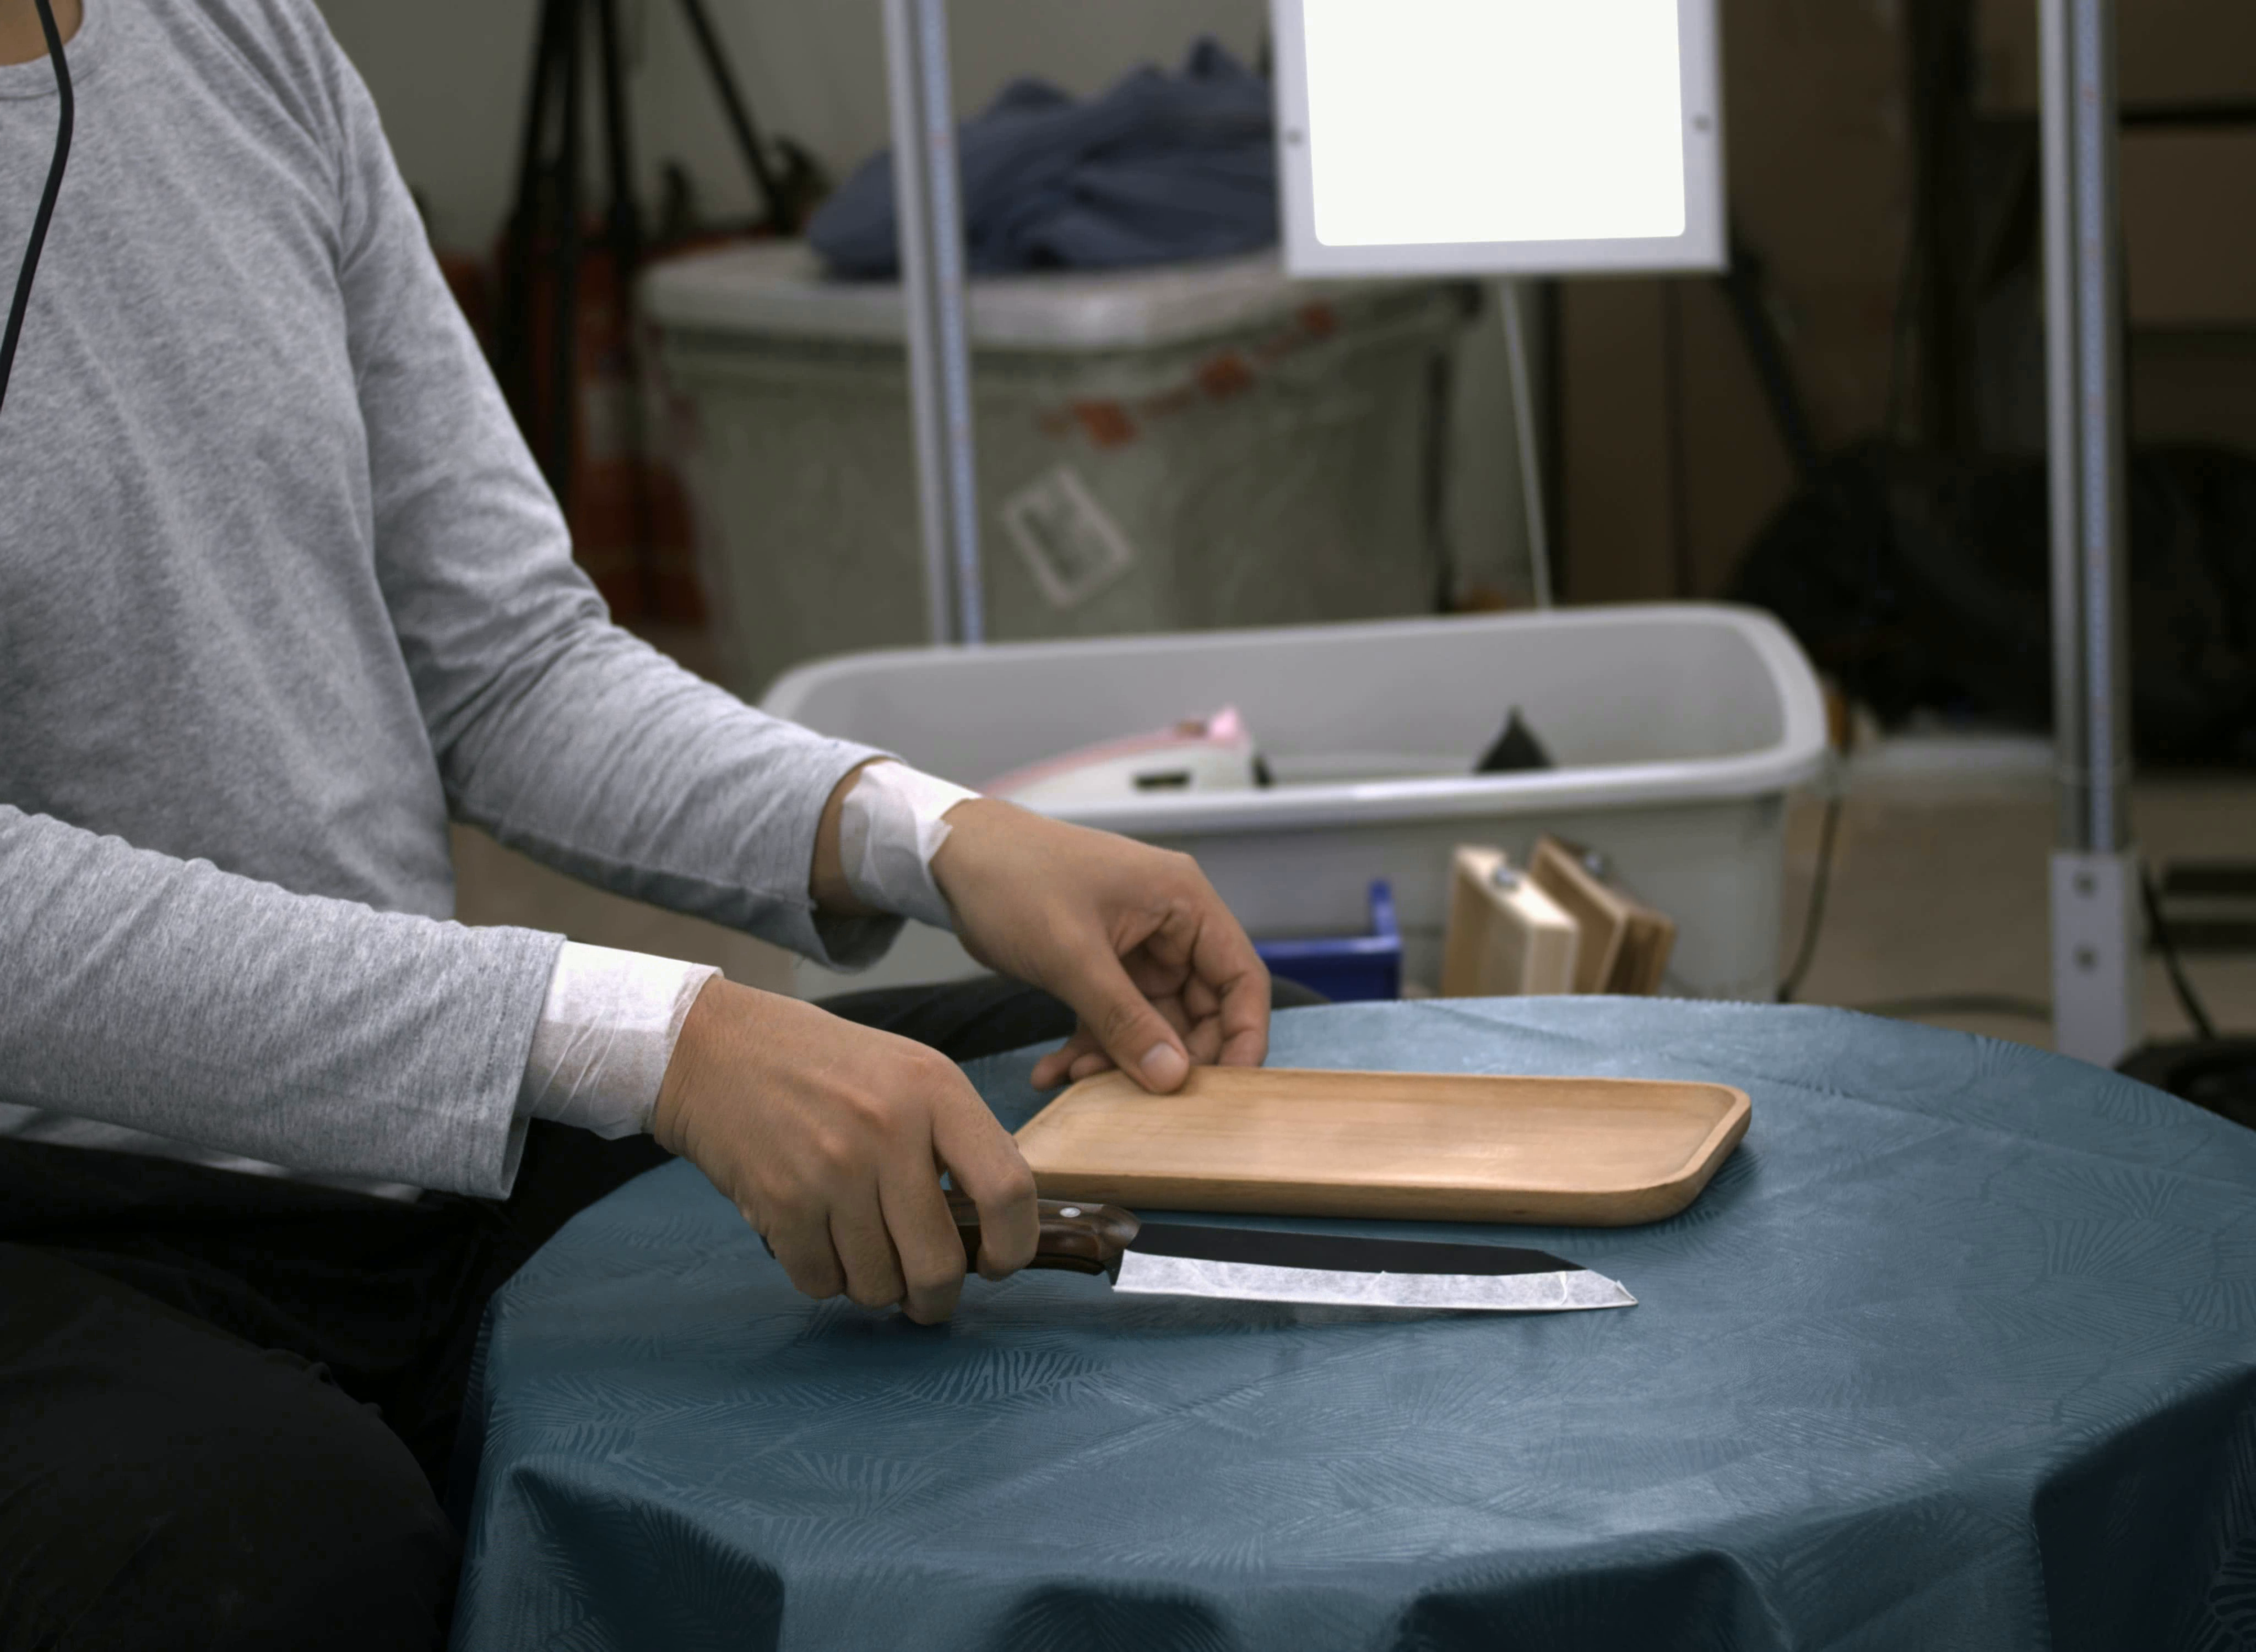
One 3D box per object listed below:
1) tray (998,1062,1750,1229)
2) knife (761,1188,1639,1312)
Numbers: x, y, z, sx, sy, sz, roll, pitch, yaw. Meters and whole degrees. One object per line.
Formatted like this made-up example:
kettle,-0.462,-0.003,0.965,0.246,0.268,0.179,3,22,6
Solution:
tray,0.086,0.110,1.907,0.254,0.023,0.128,0,13,24
knife,0.021,0.139,1.773,0.291,0.020,0.049,4,27,11
